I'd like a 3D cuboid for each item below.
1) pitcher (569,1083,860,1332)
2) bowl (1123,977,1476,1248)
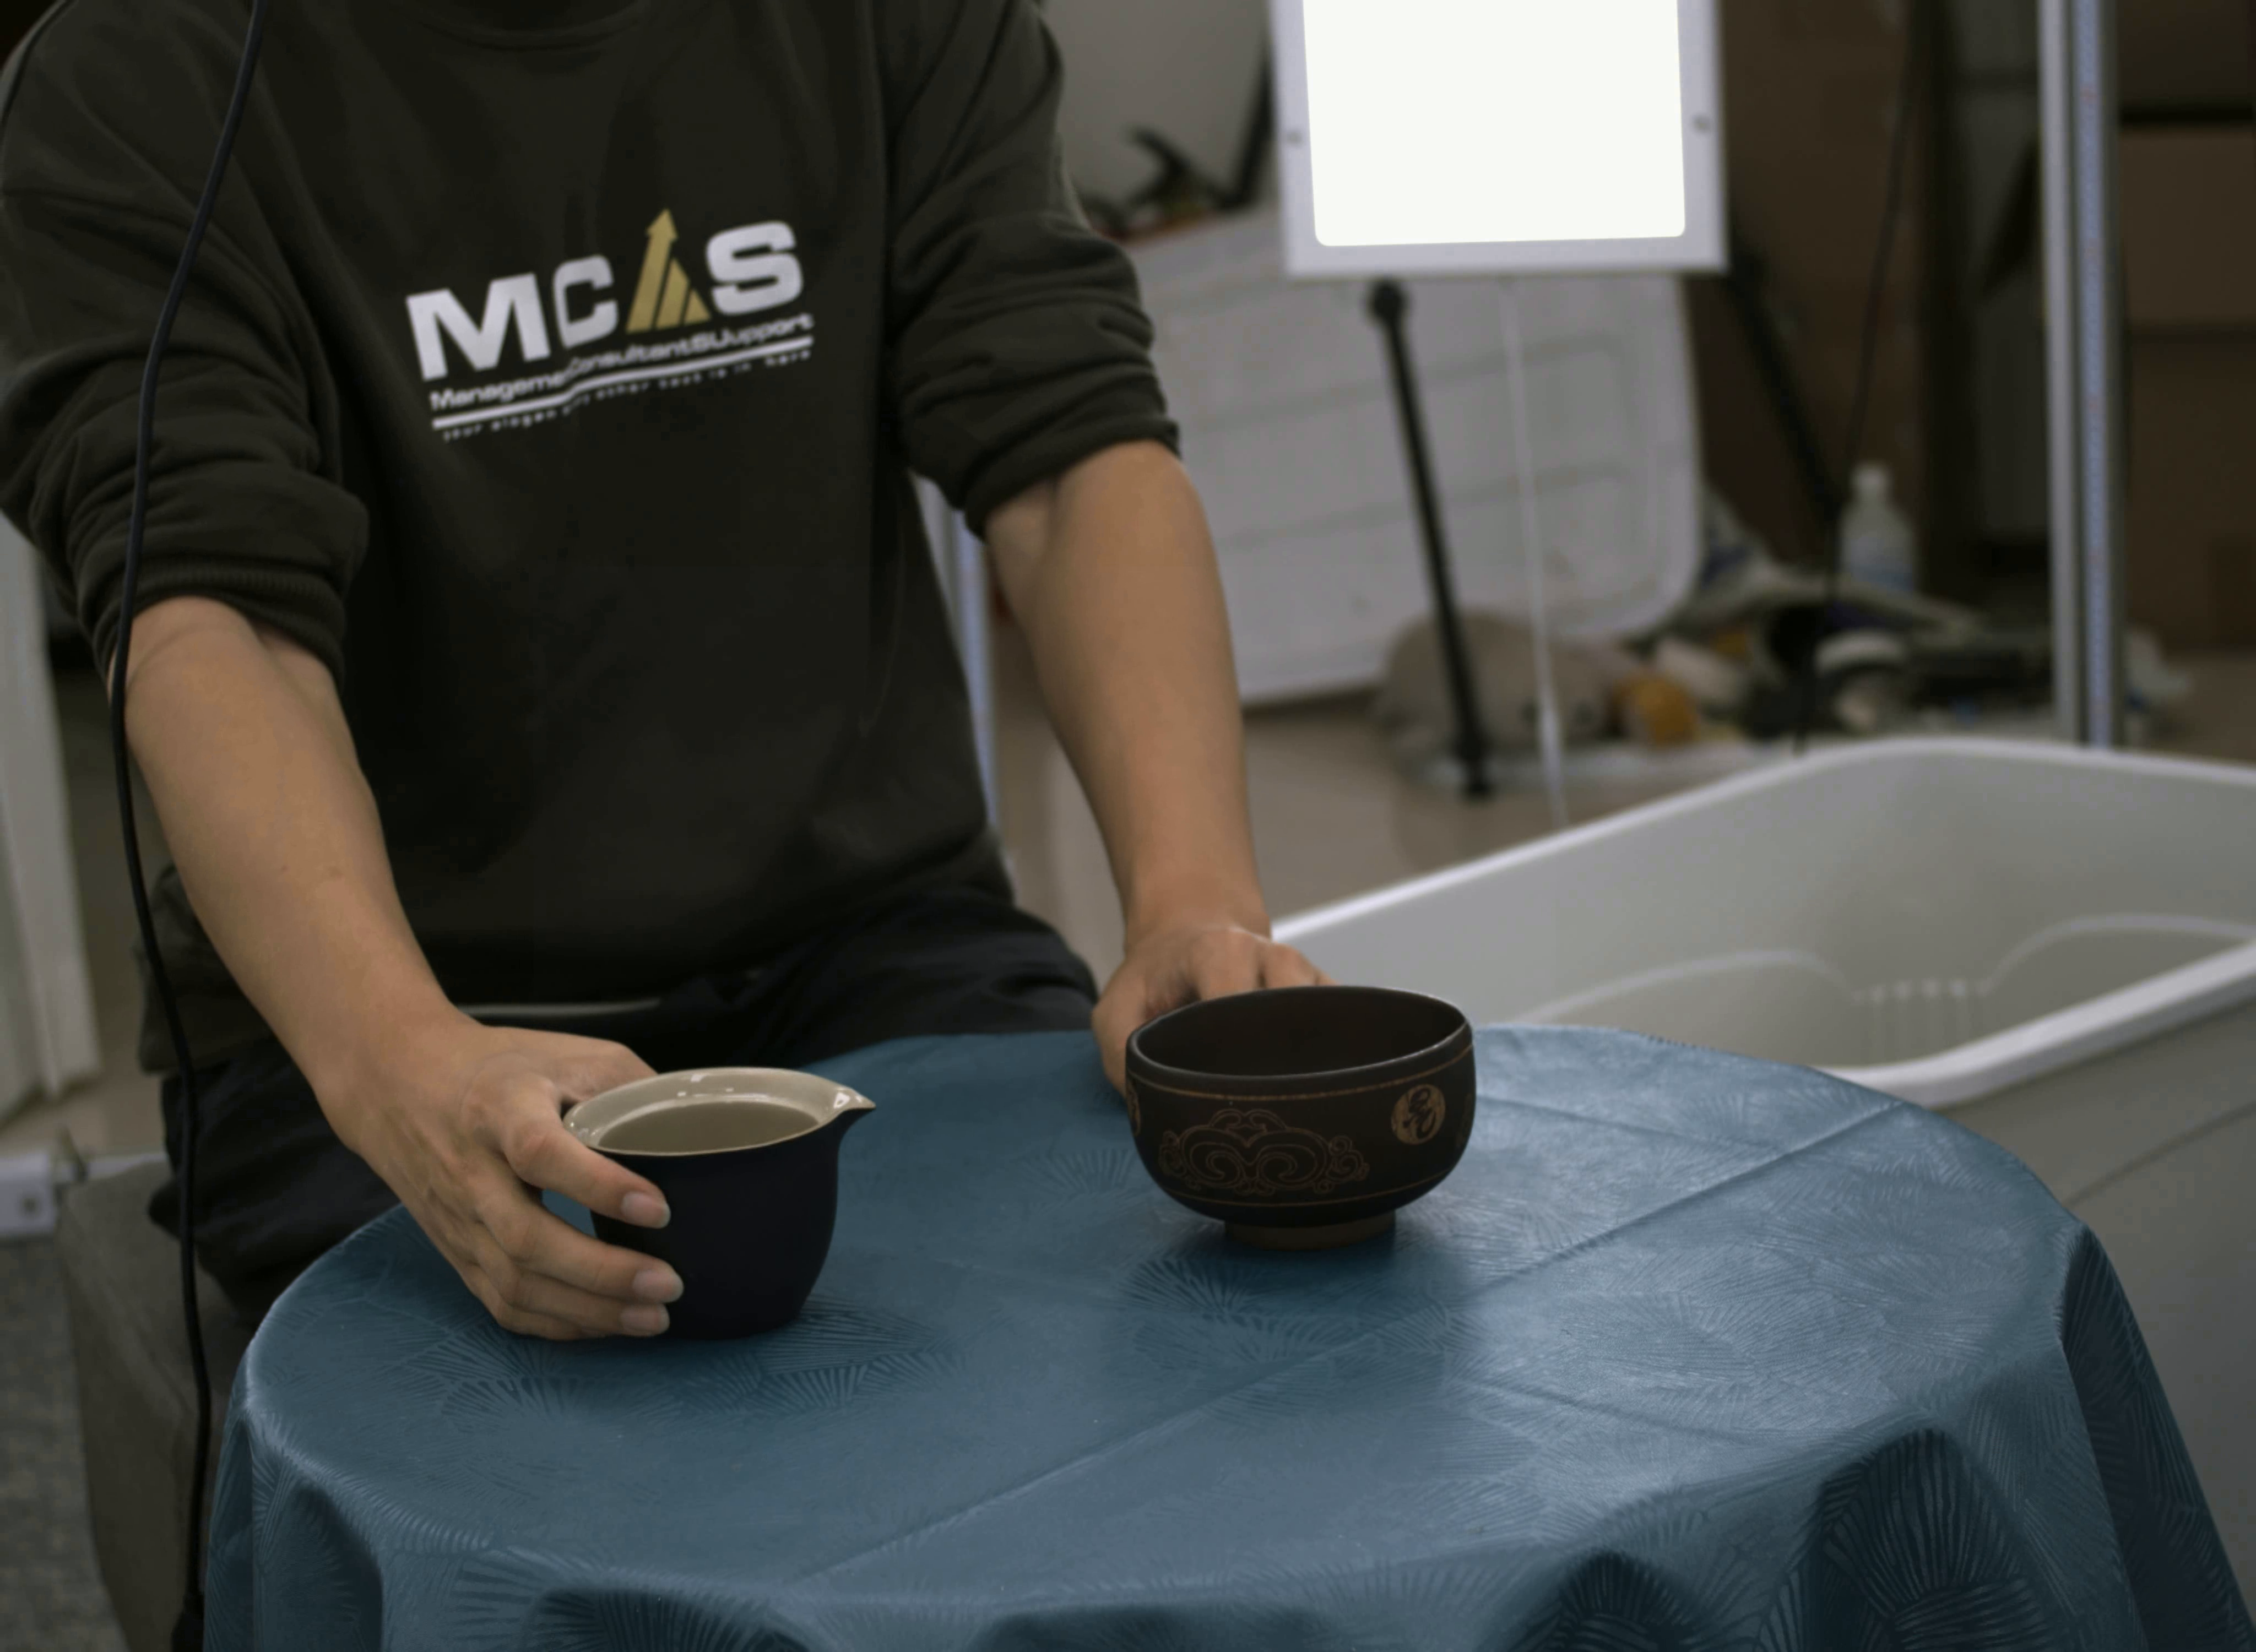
[{"bbox_3d":[-0.132,0.123,1.798,0.096,0.071,0.083,-4,13,3],"label":"pitcher"},{"bbox_3d":[0.059,0.099,1.839,0.118,0.070,0.118,-5,16,0],"label":"bowl"}]
